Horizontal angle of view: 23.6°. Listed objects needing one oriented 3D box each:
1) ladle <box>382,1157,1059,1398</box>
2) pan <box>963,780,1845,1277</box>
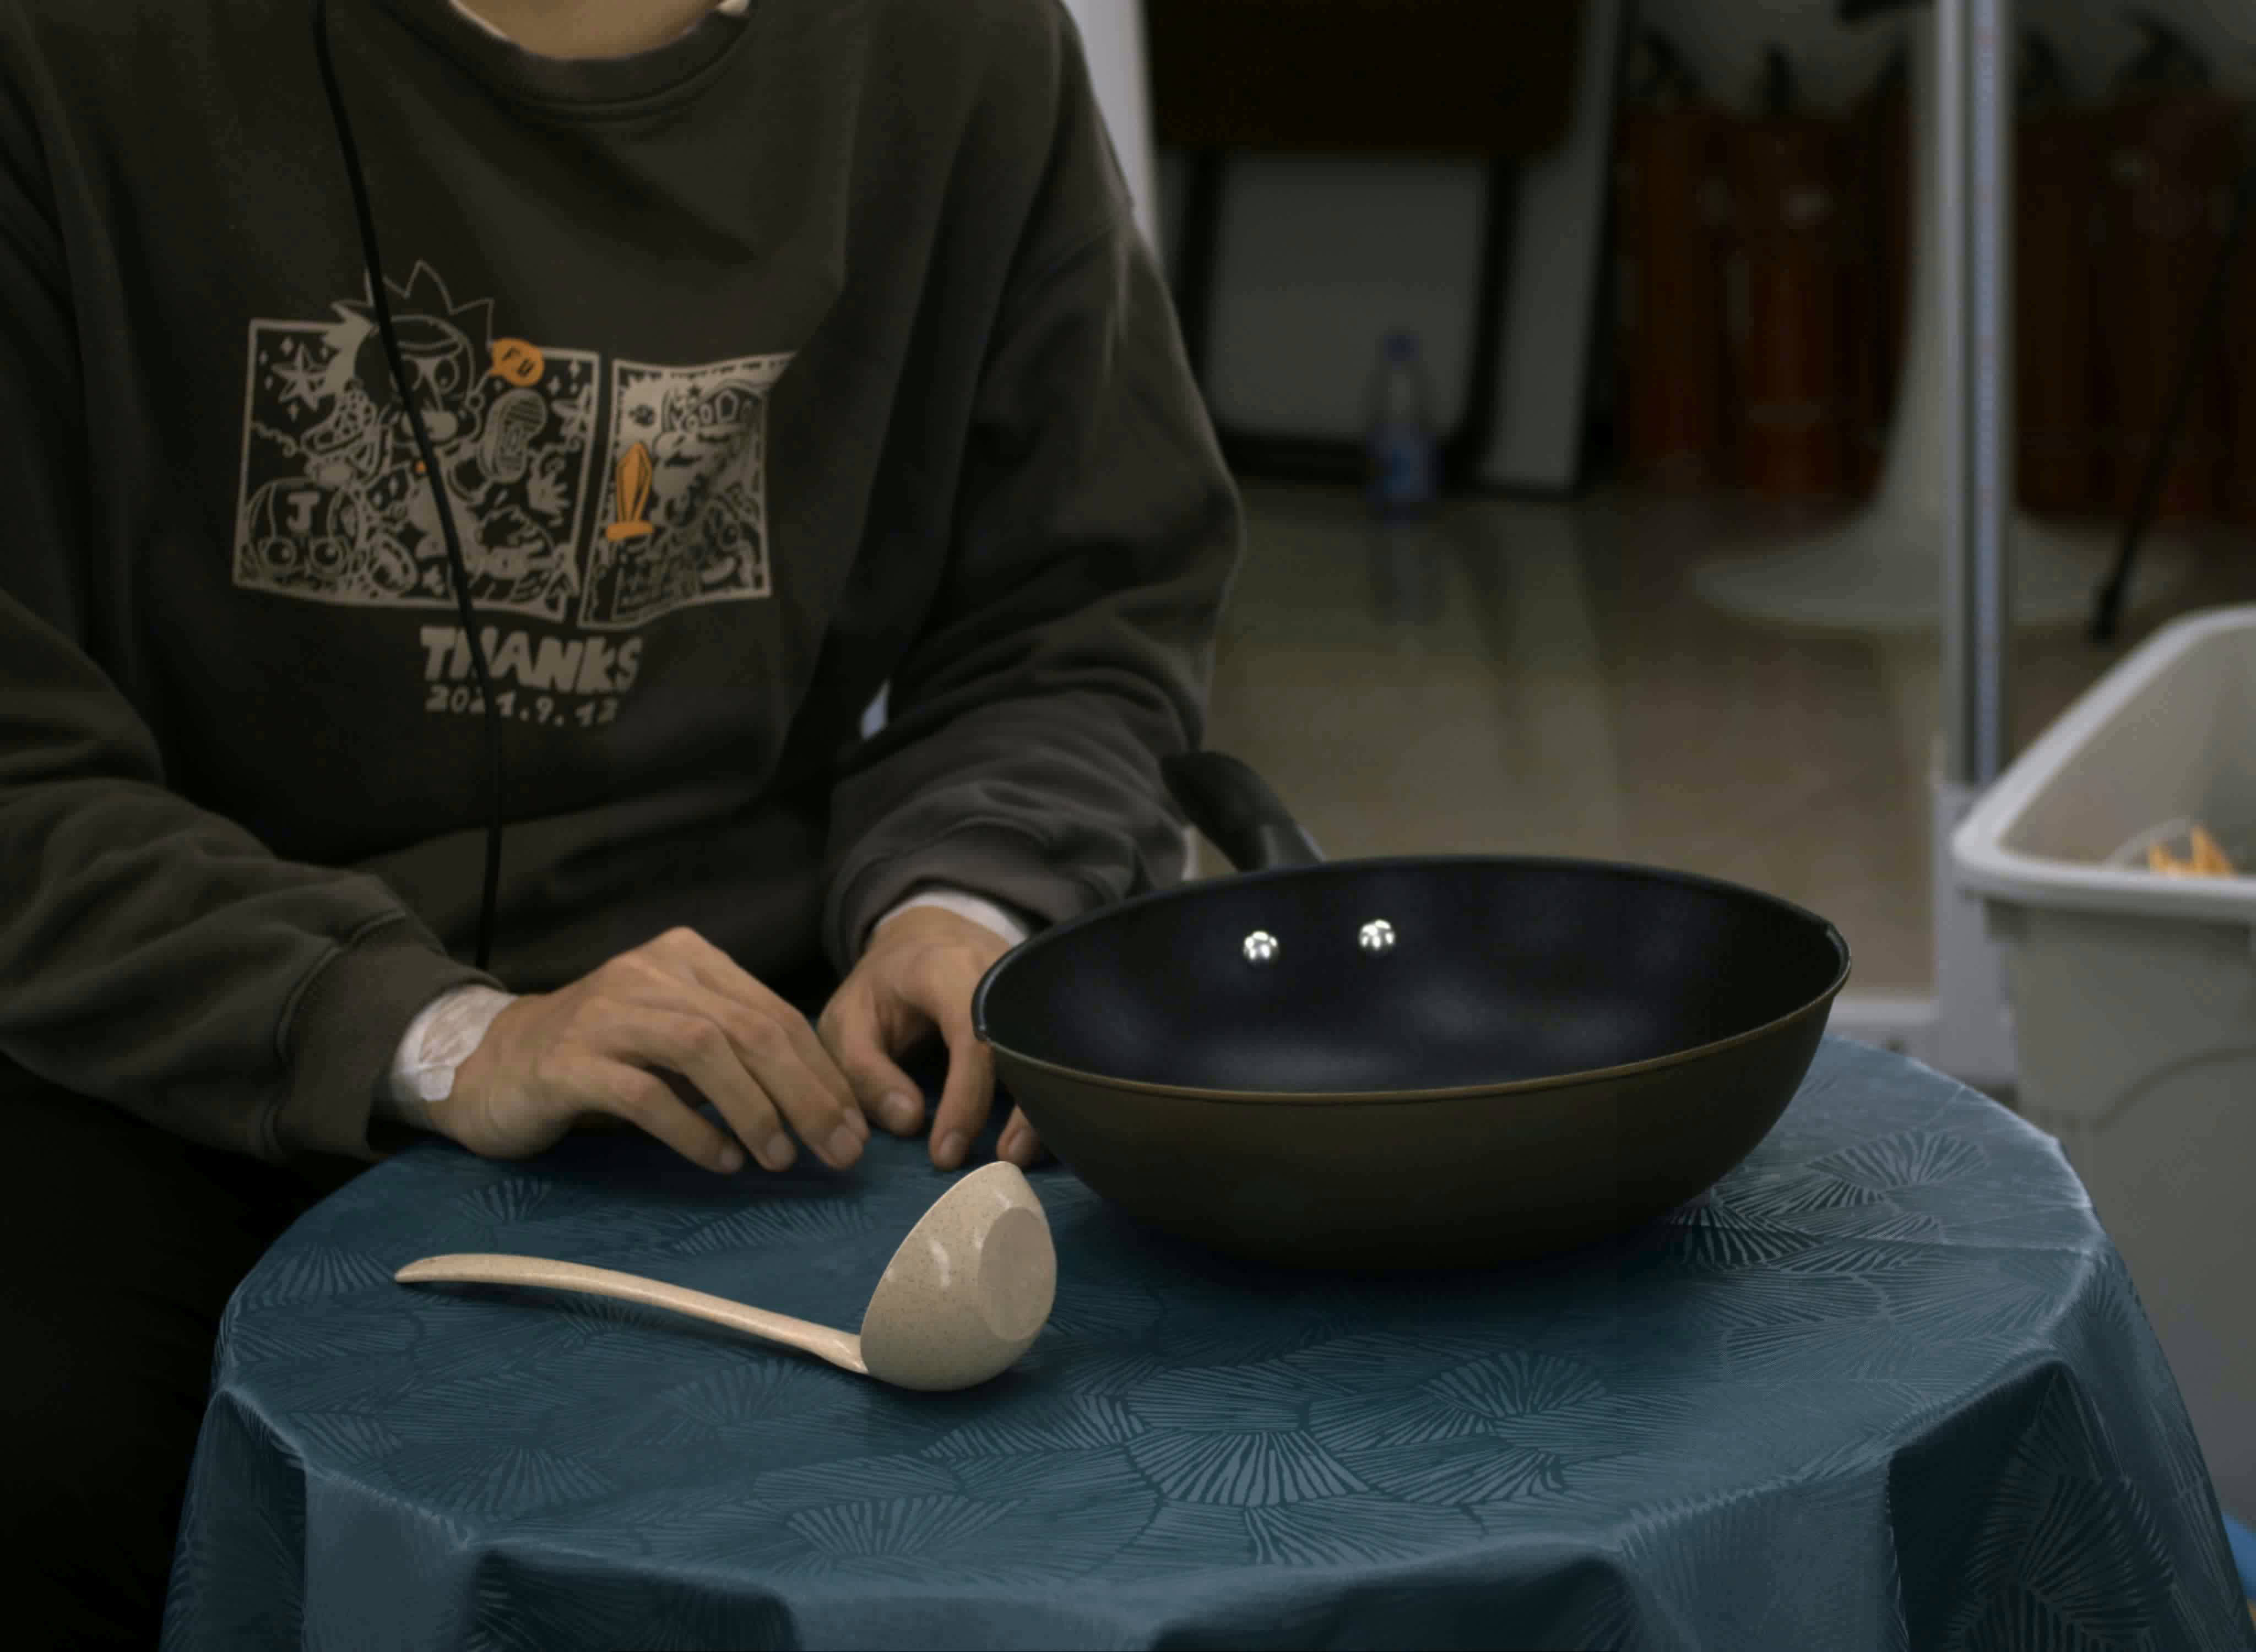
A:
[{"bbox_3d":[-0.134,0.125,1.648,0.256,0.073,0.071,6,21,34],"label":"ladle"},{"bbox_3d":[0.072,0.065,1.814,0.283,0.088,0.466,-7,12,-10],"label":"pan"}]
